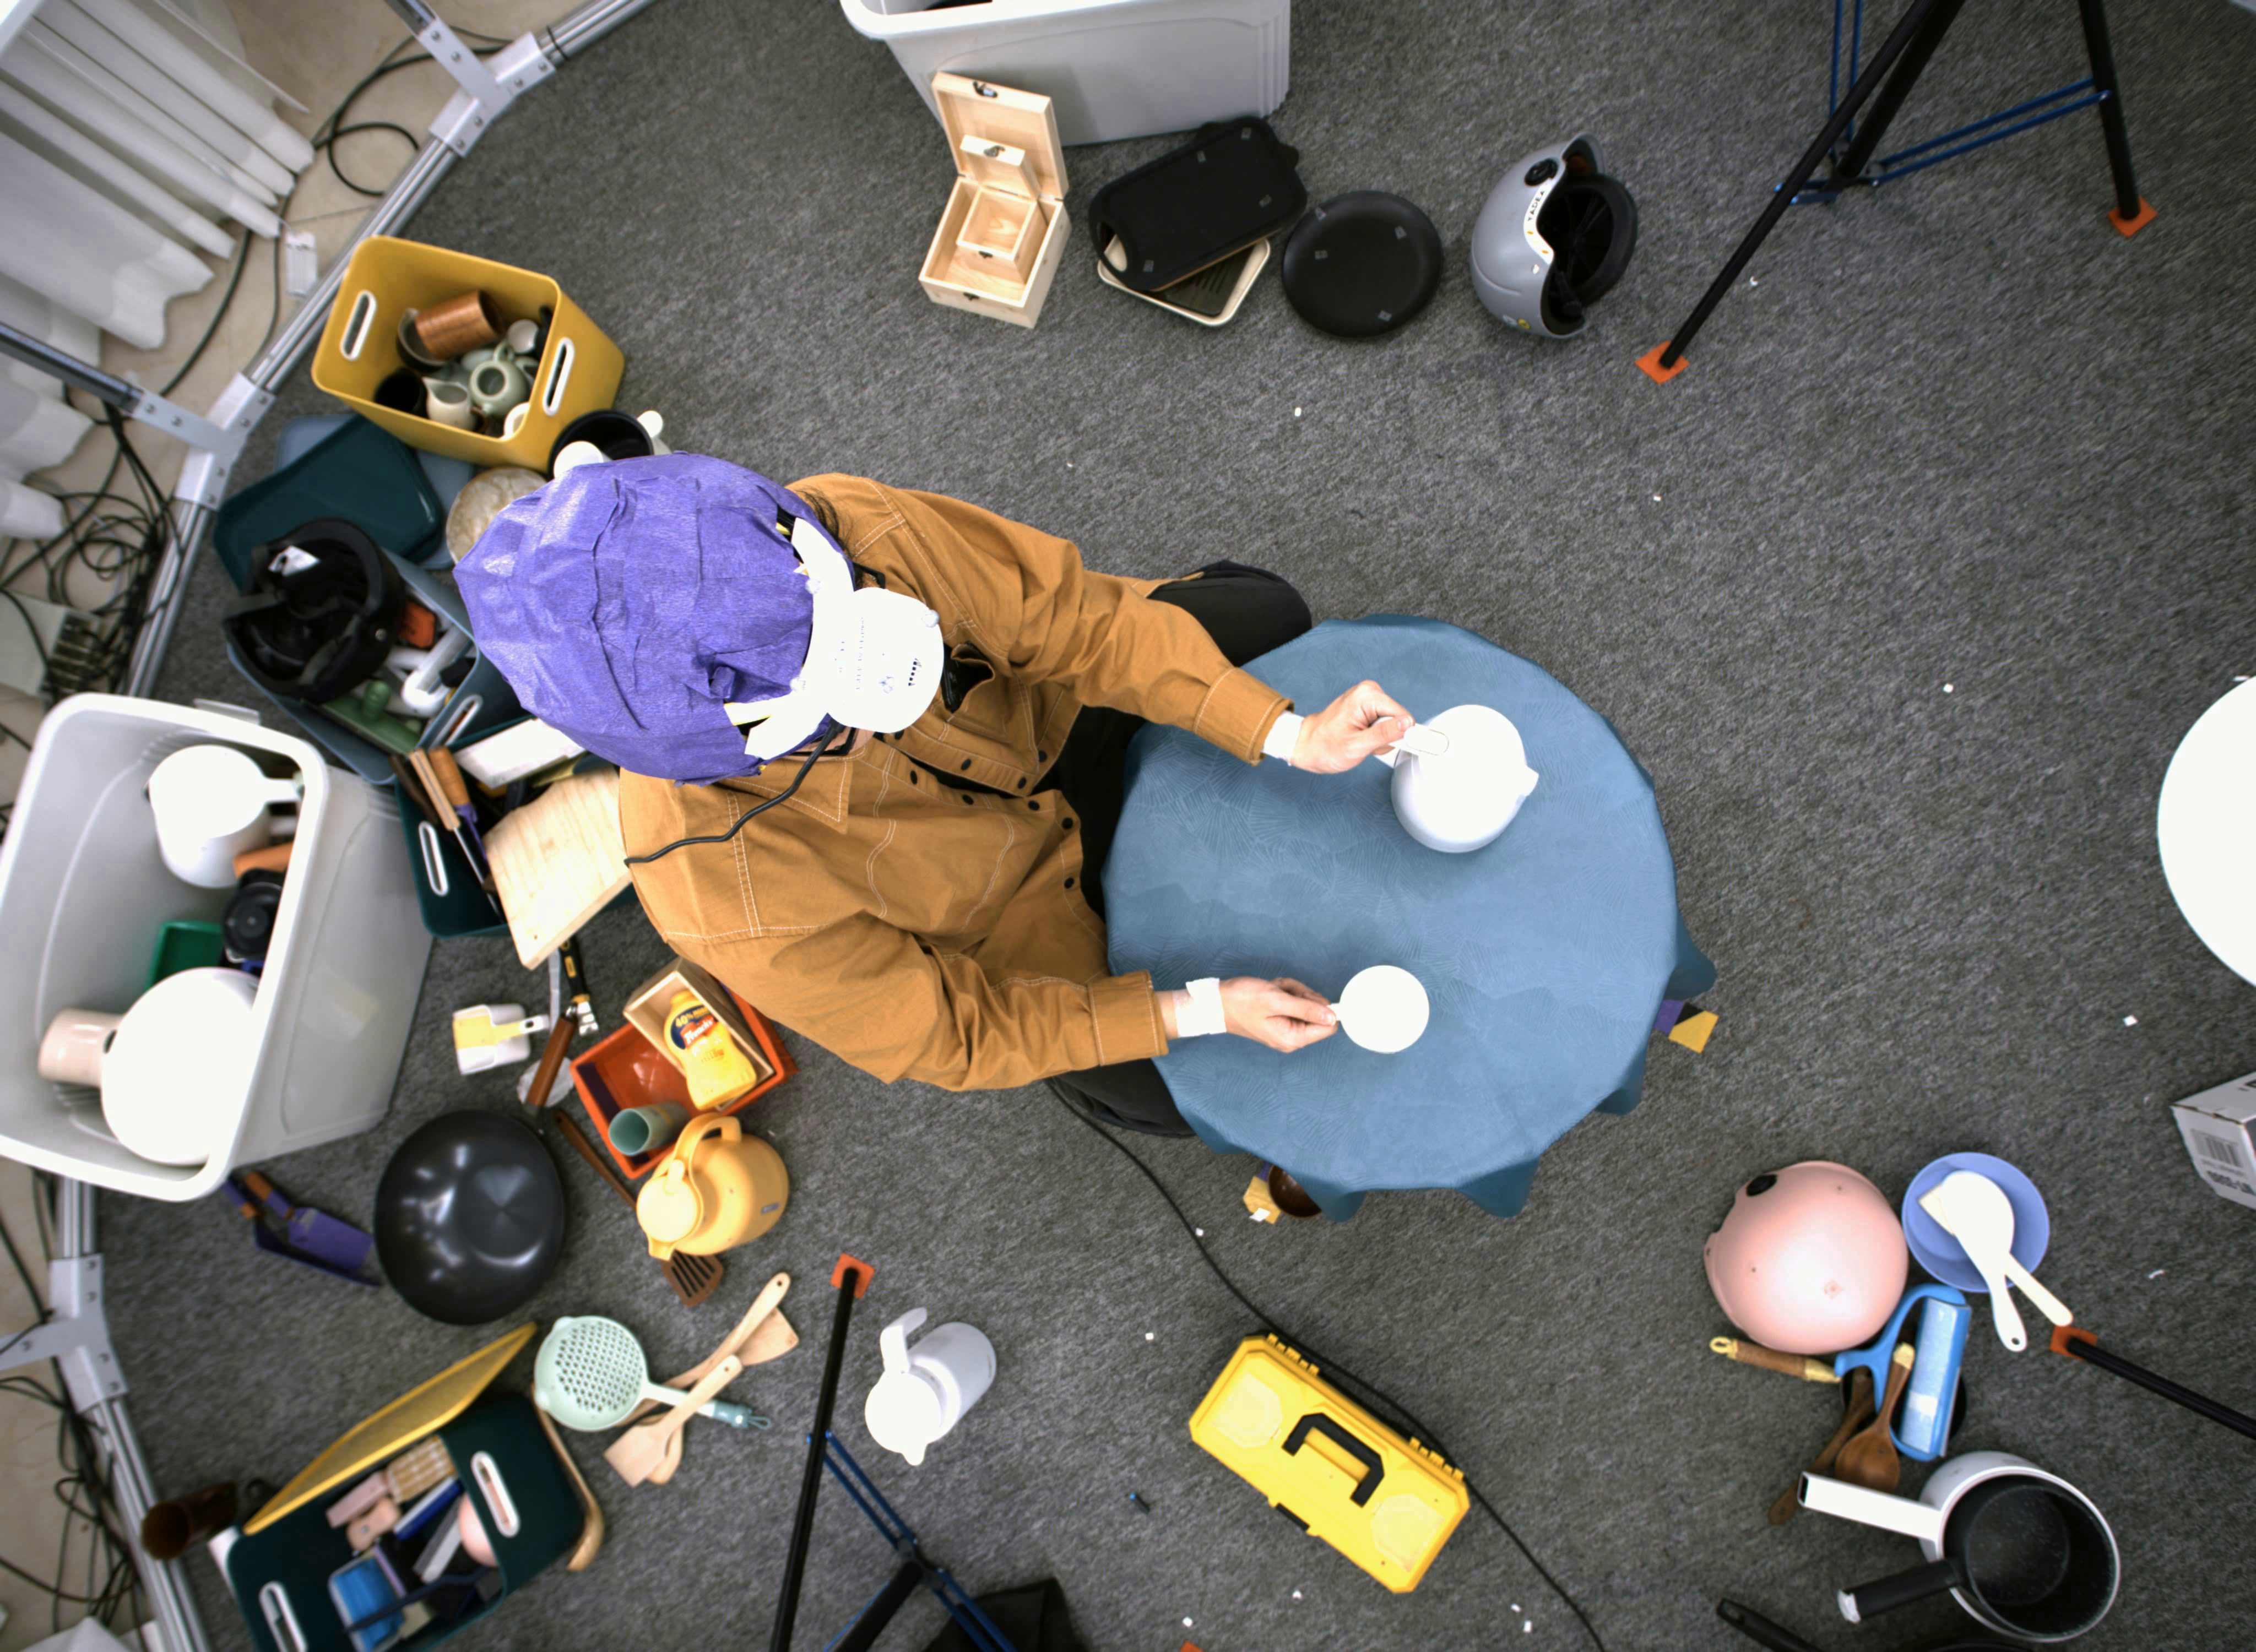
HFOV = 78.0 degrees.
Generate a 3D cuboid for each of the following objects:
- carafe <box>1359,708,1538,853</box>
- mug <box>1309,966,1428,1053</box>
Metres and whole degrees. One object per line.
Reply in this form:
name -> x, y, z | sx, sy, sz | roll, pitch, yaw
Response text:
carafe -> 0.306, -0.056, 1.334 | 0.167, 0.248, 0.132 | 22, 90, 12
mug -> 0.244, 0.186, 1.408 | 0.119, 0.102, 0.084 | -7, 85, 10
